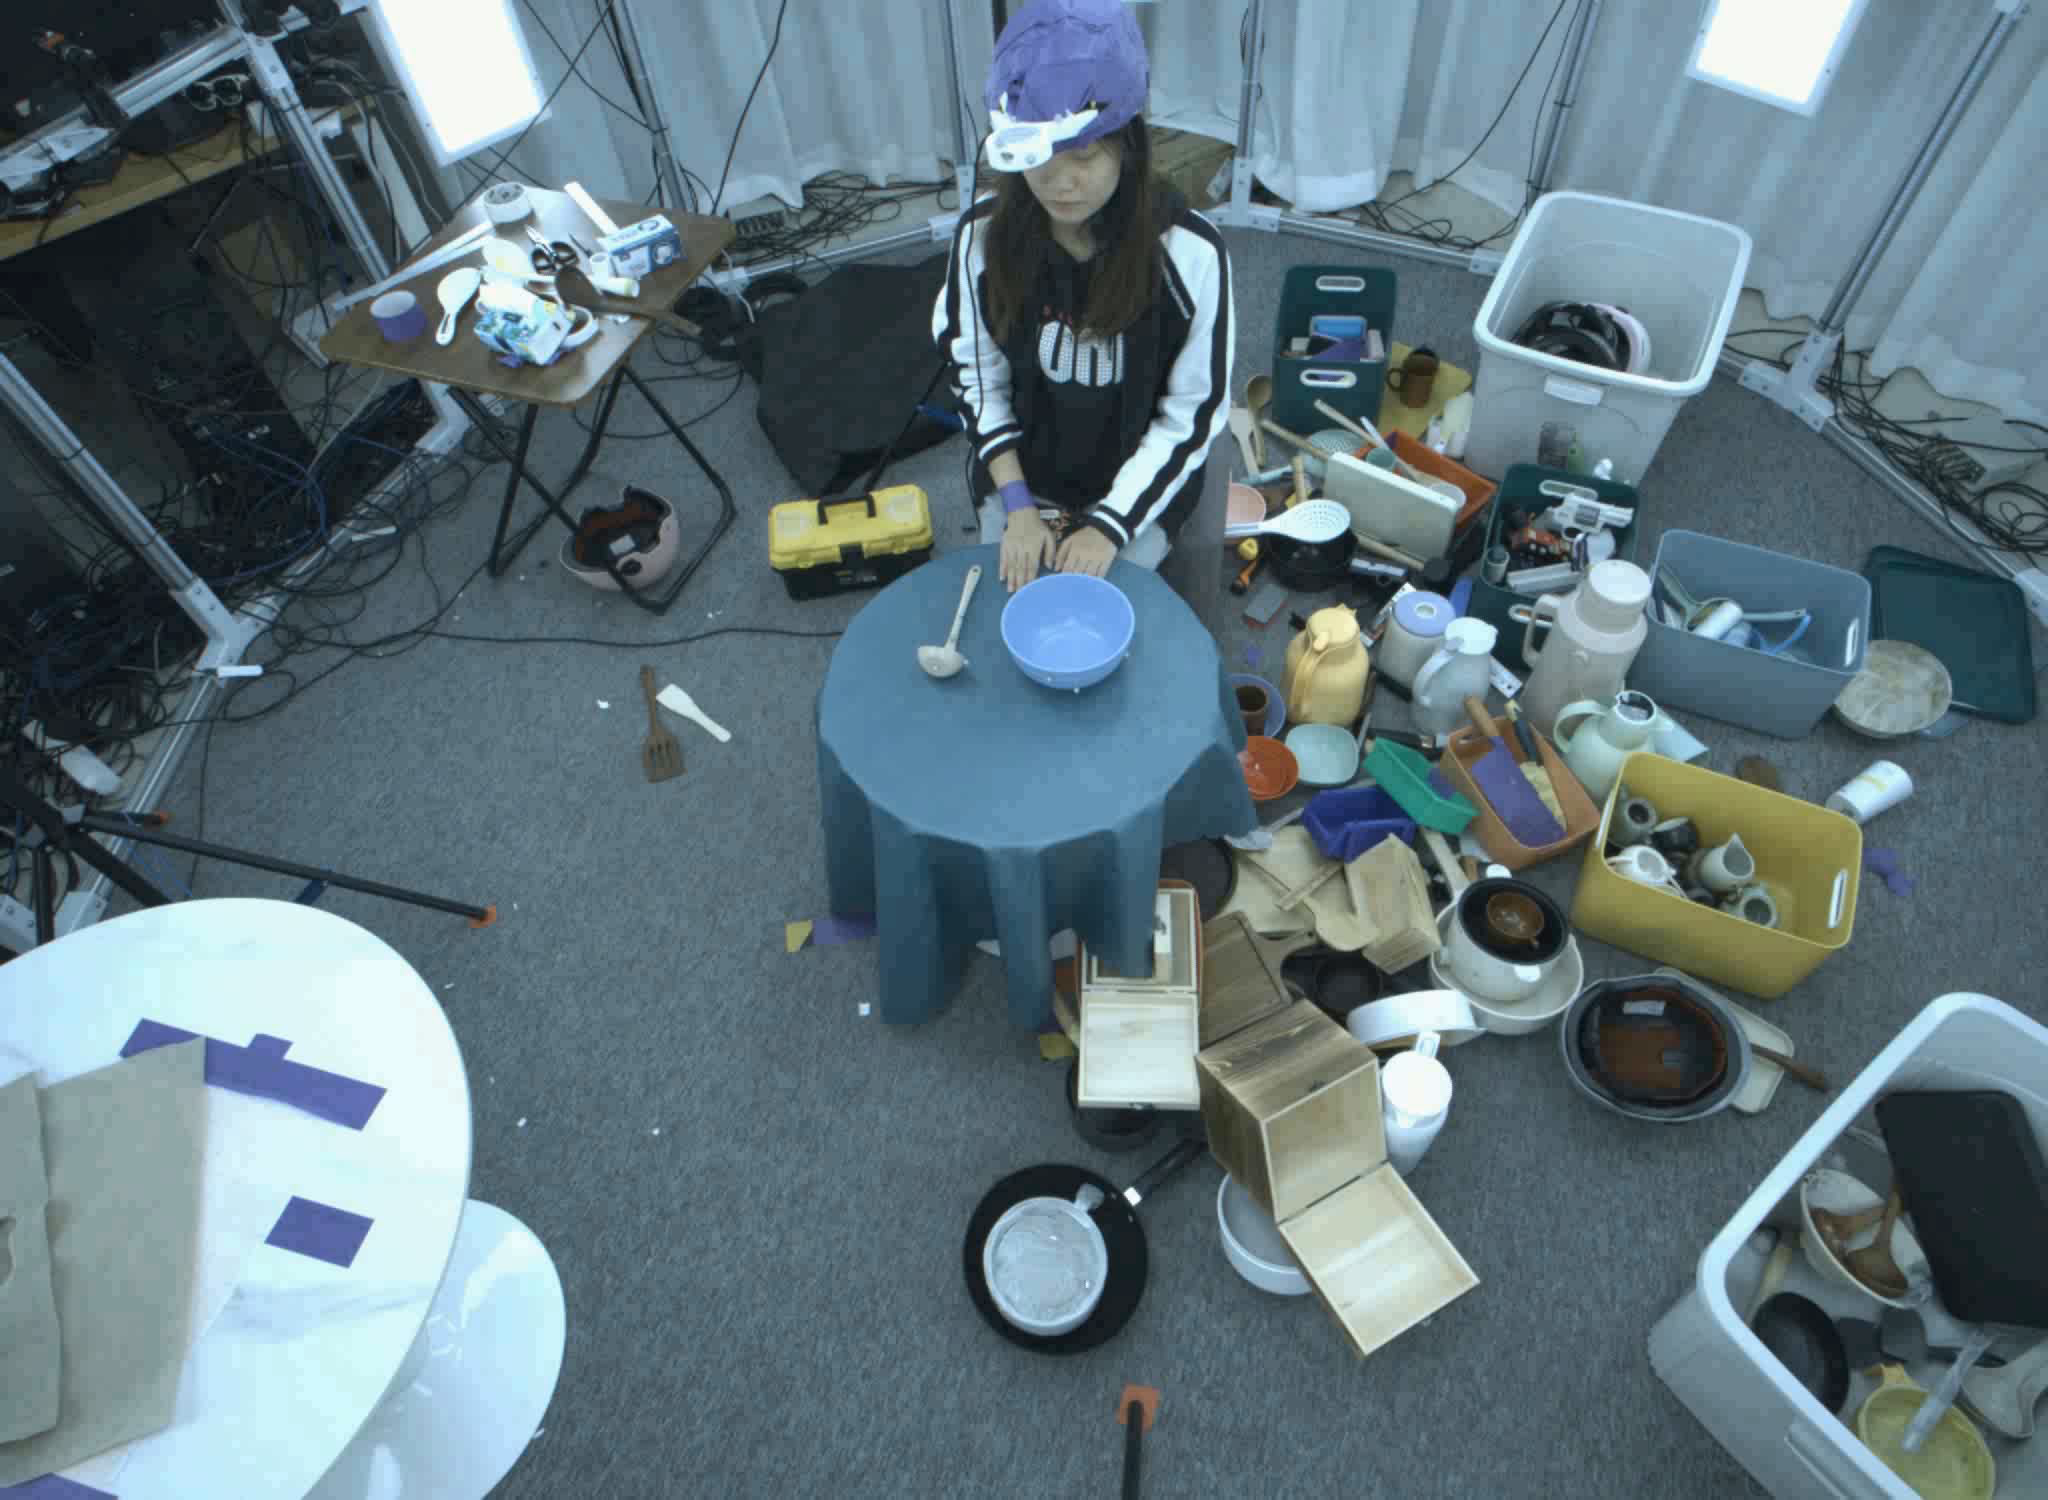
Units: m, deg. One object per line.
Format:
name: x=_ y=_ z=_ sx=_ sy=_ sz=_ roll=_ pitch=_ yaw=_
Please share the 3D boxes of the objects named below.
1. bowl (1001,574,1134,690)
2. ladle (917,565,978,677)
bowl: x=0.067 y=-0.161 z=1.845 sx=0.196 sy=0.096 sz=0.194 roll=-1 pitch=54 yaw=3
ladle: x=-0.107 y=-0.222 z=1.903 sx=0.072 sy=0.073 sz=0.253 roll=8 pitch=55 yaw=7
